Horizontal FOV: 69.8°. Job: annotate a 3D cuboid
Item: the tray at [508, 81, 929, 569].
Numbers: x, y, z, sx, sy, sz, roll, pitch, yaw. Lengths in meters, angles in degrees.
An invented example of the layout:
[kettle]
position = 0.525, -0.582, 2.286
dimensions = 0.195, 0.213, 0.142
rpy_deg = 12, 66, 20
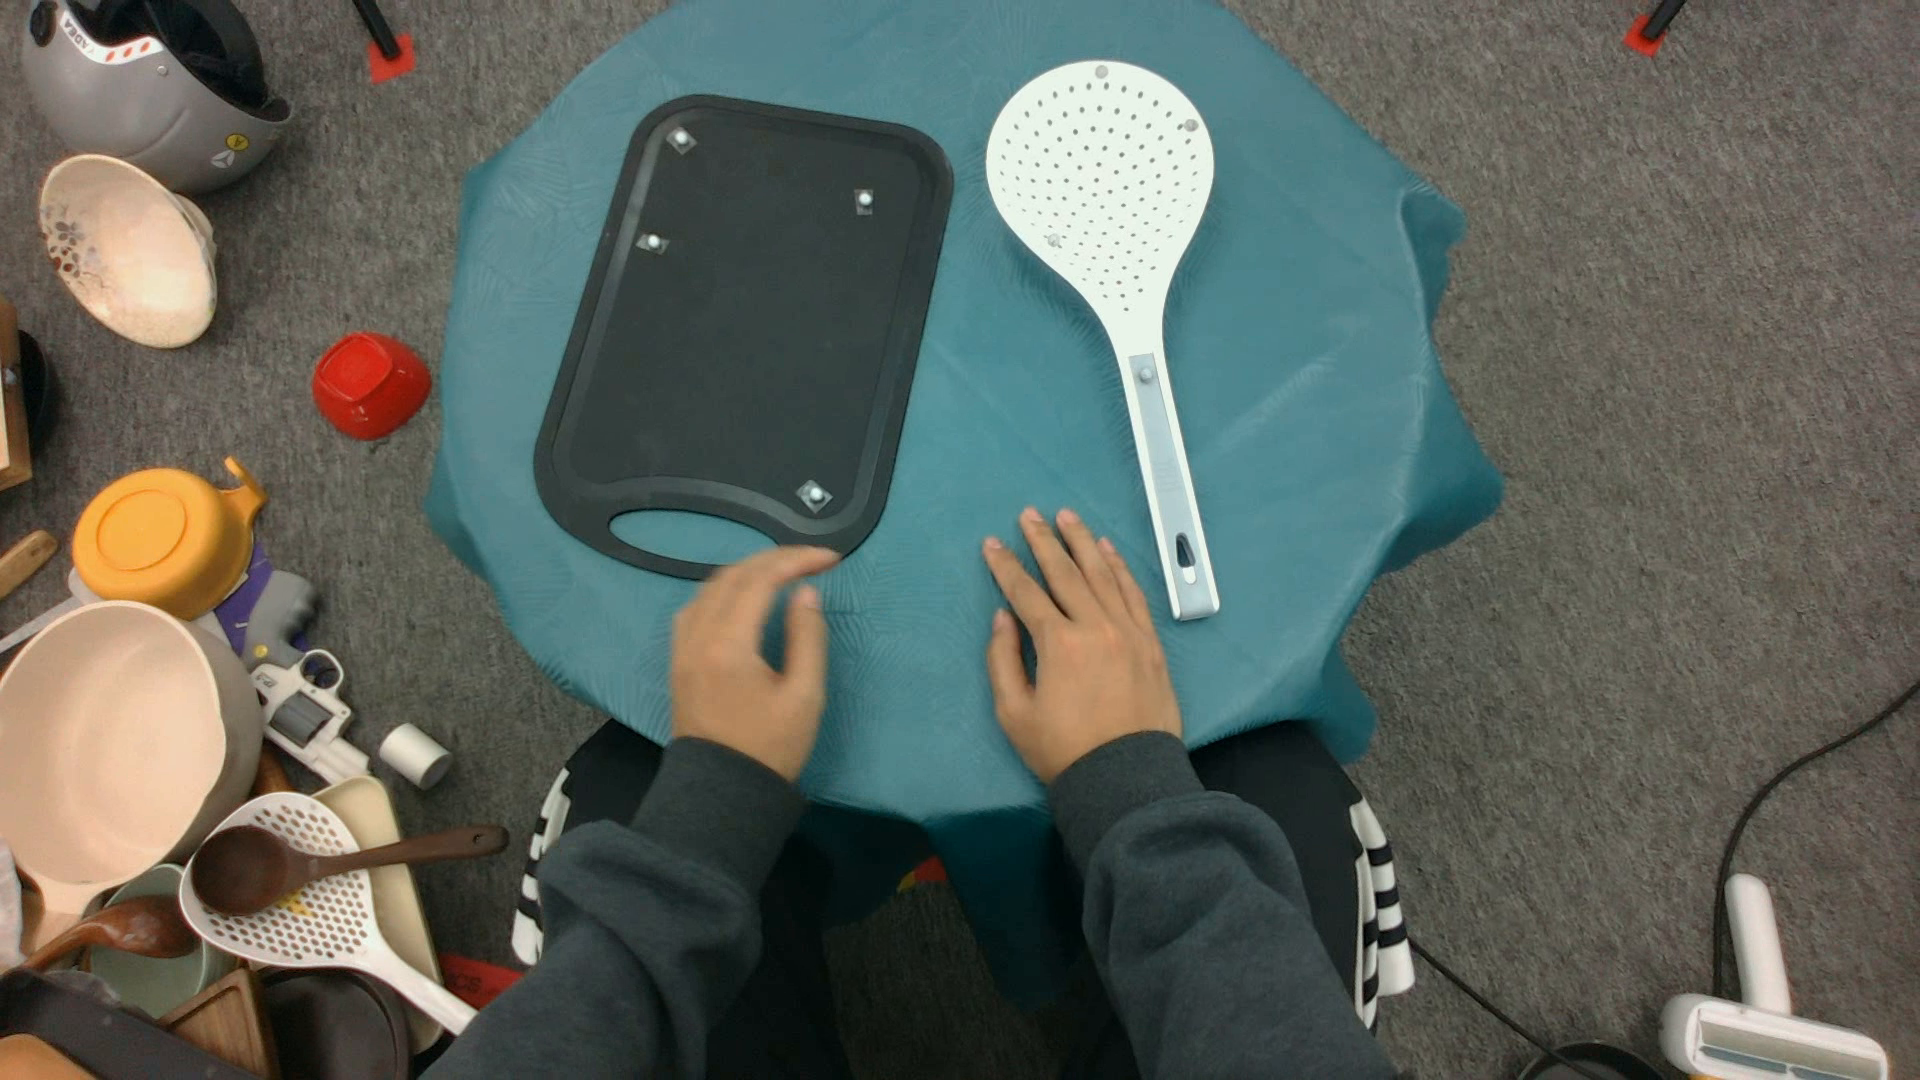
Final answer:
[tray]
position = -0.143, -0.137, 0.831
dimensions = 0.211, 0.010, 0.326
rpy_deg = 9, 70, 3

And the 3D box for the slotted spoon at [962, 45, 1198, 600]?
[slotted spoon]
position = 0.089, -0.134, 0.813
dimensions = 0.136, 0.045, 0.350
rpy_deg = -10, 71, -3
